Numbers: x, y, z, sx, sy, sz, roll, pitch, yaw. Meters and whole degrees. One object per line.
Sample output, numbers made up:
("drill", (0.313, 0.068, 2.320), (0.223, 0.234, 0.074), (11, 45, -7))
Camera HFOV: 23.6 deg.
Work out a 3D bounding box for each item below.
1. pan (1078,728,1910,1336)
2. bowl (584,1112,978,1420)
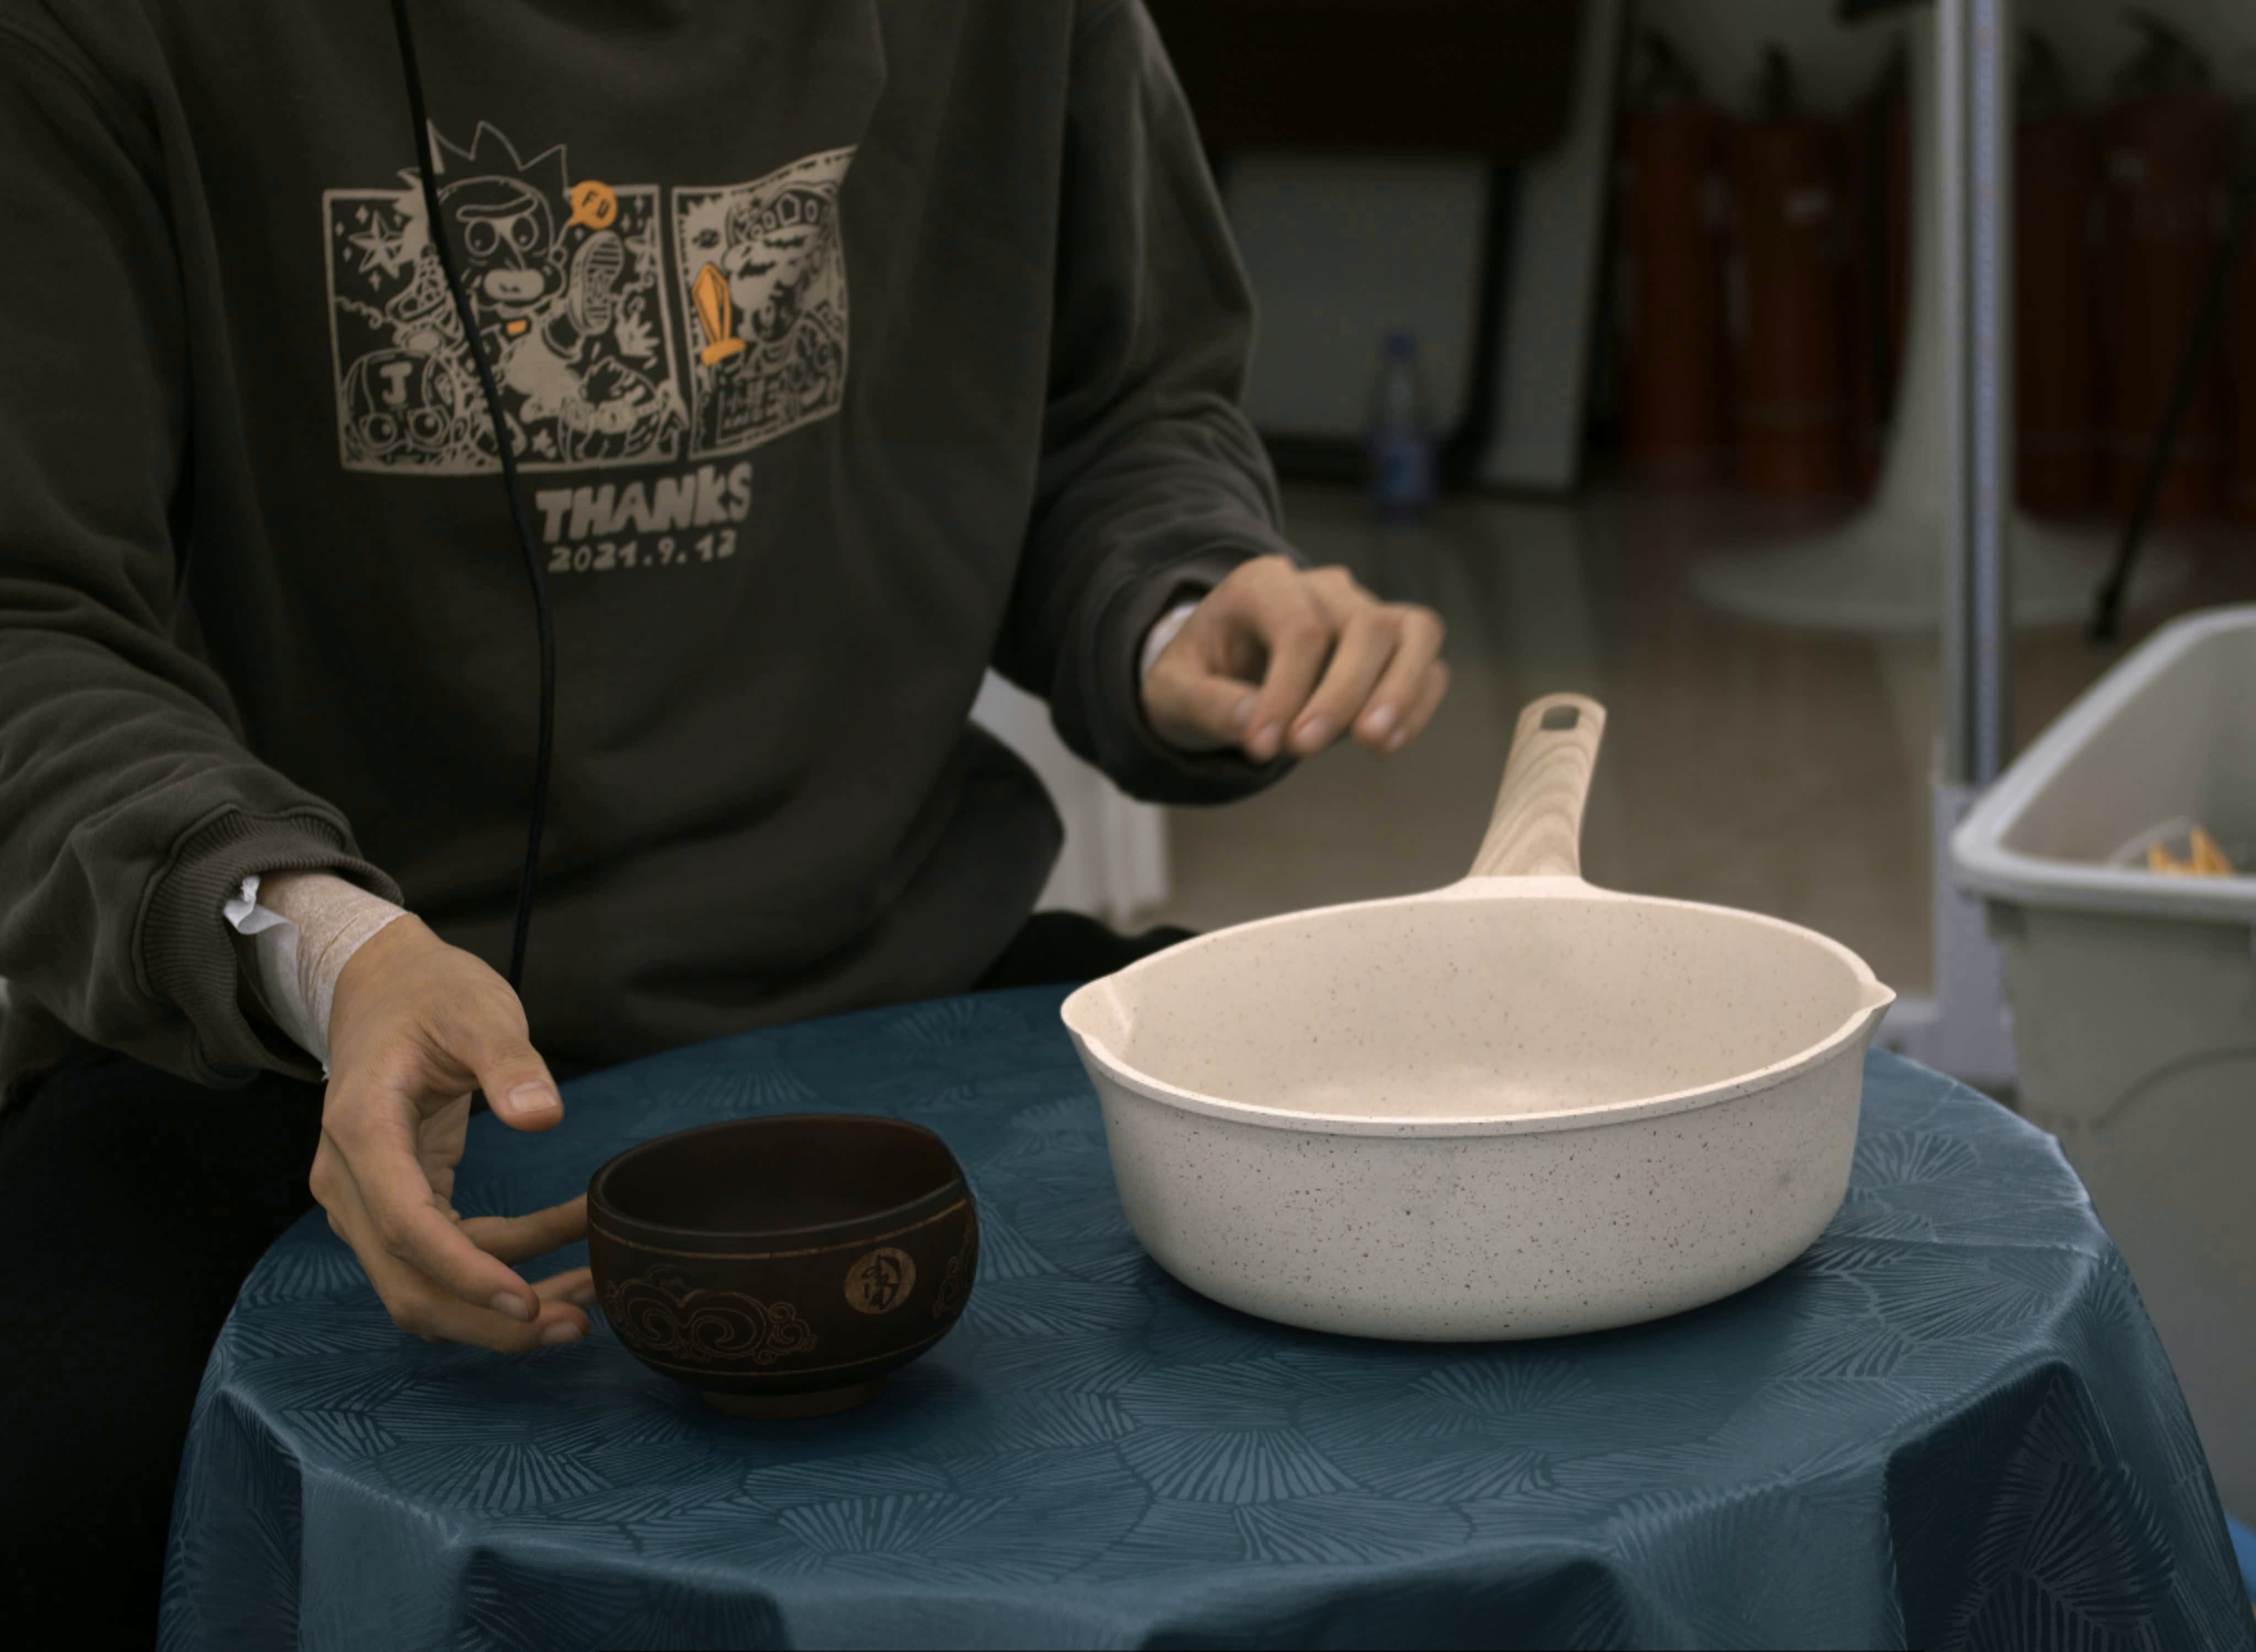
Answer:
("pan", (0.130, 0.063, 1.770), (0.261, 0.103, 0.433), (-3, 13, 11))
("bowl", (-0.101, 0.134, 1.602), (0.116, 0.070, 0.118), (-5, 12, 0))
